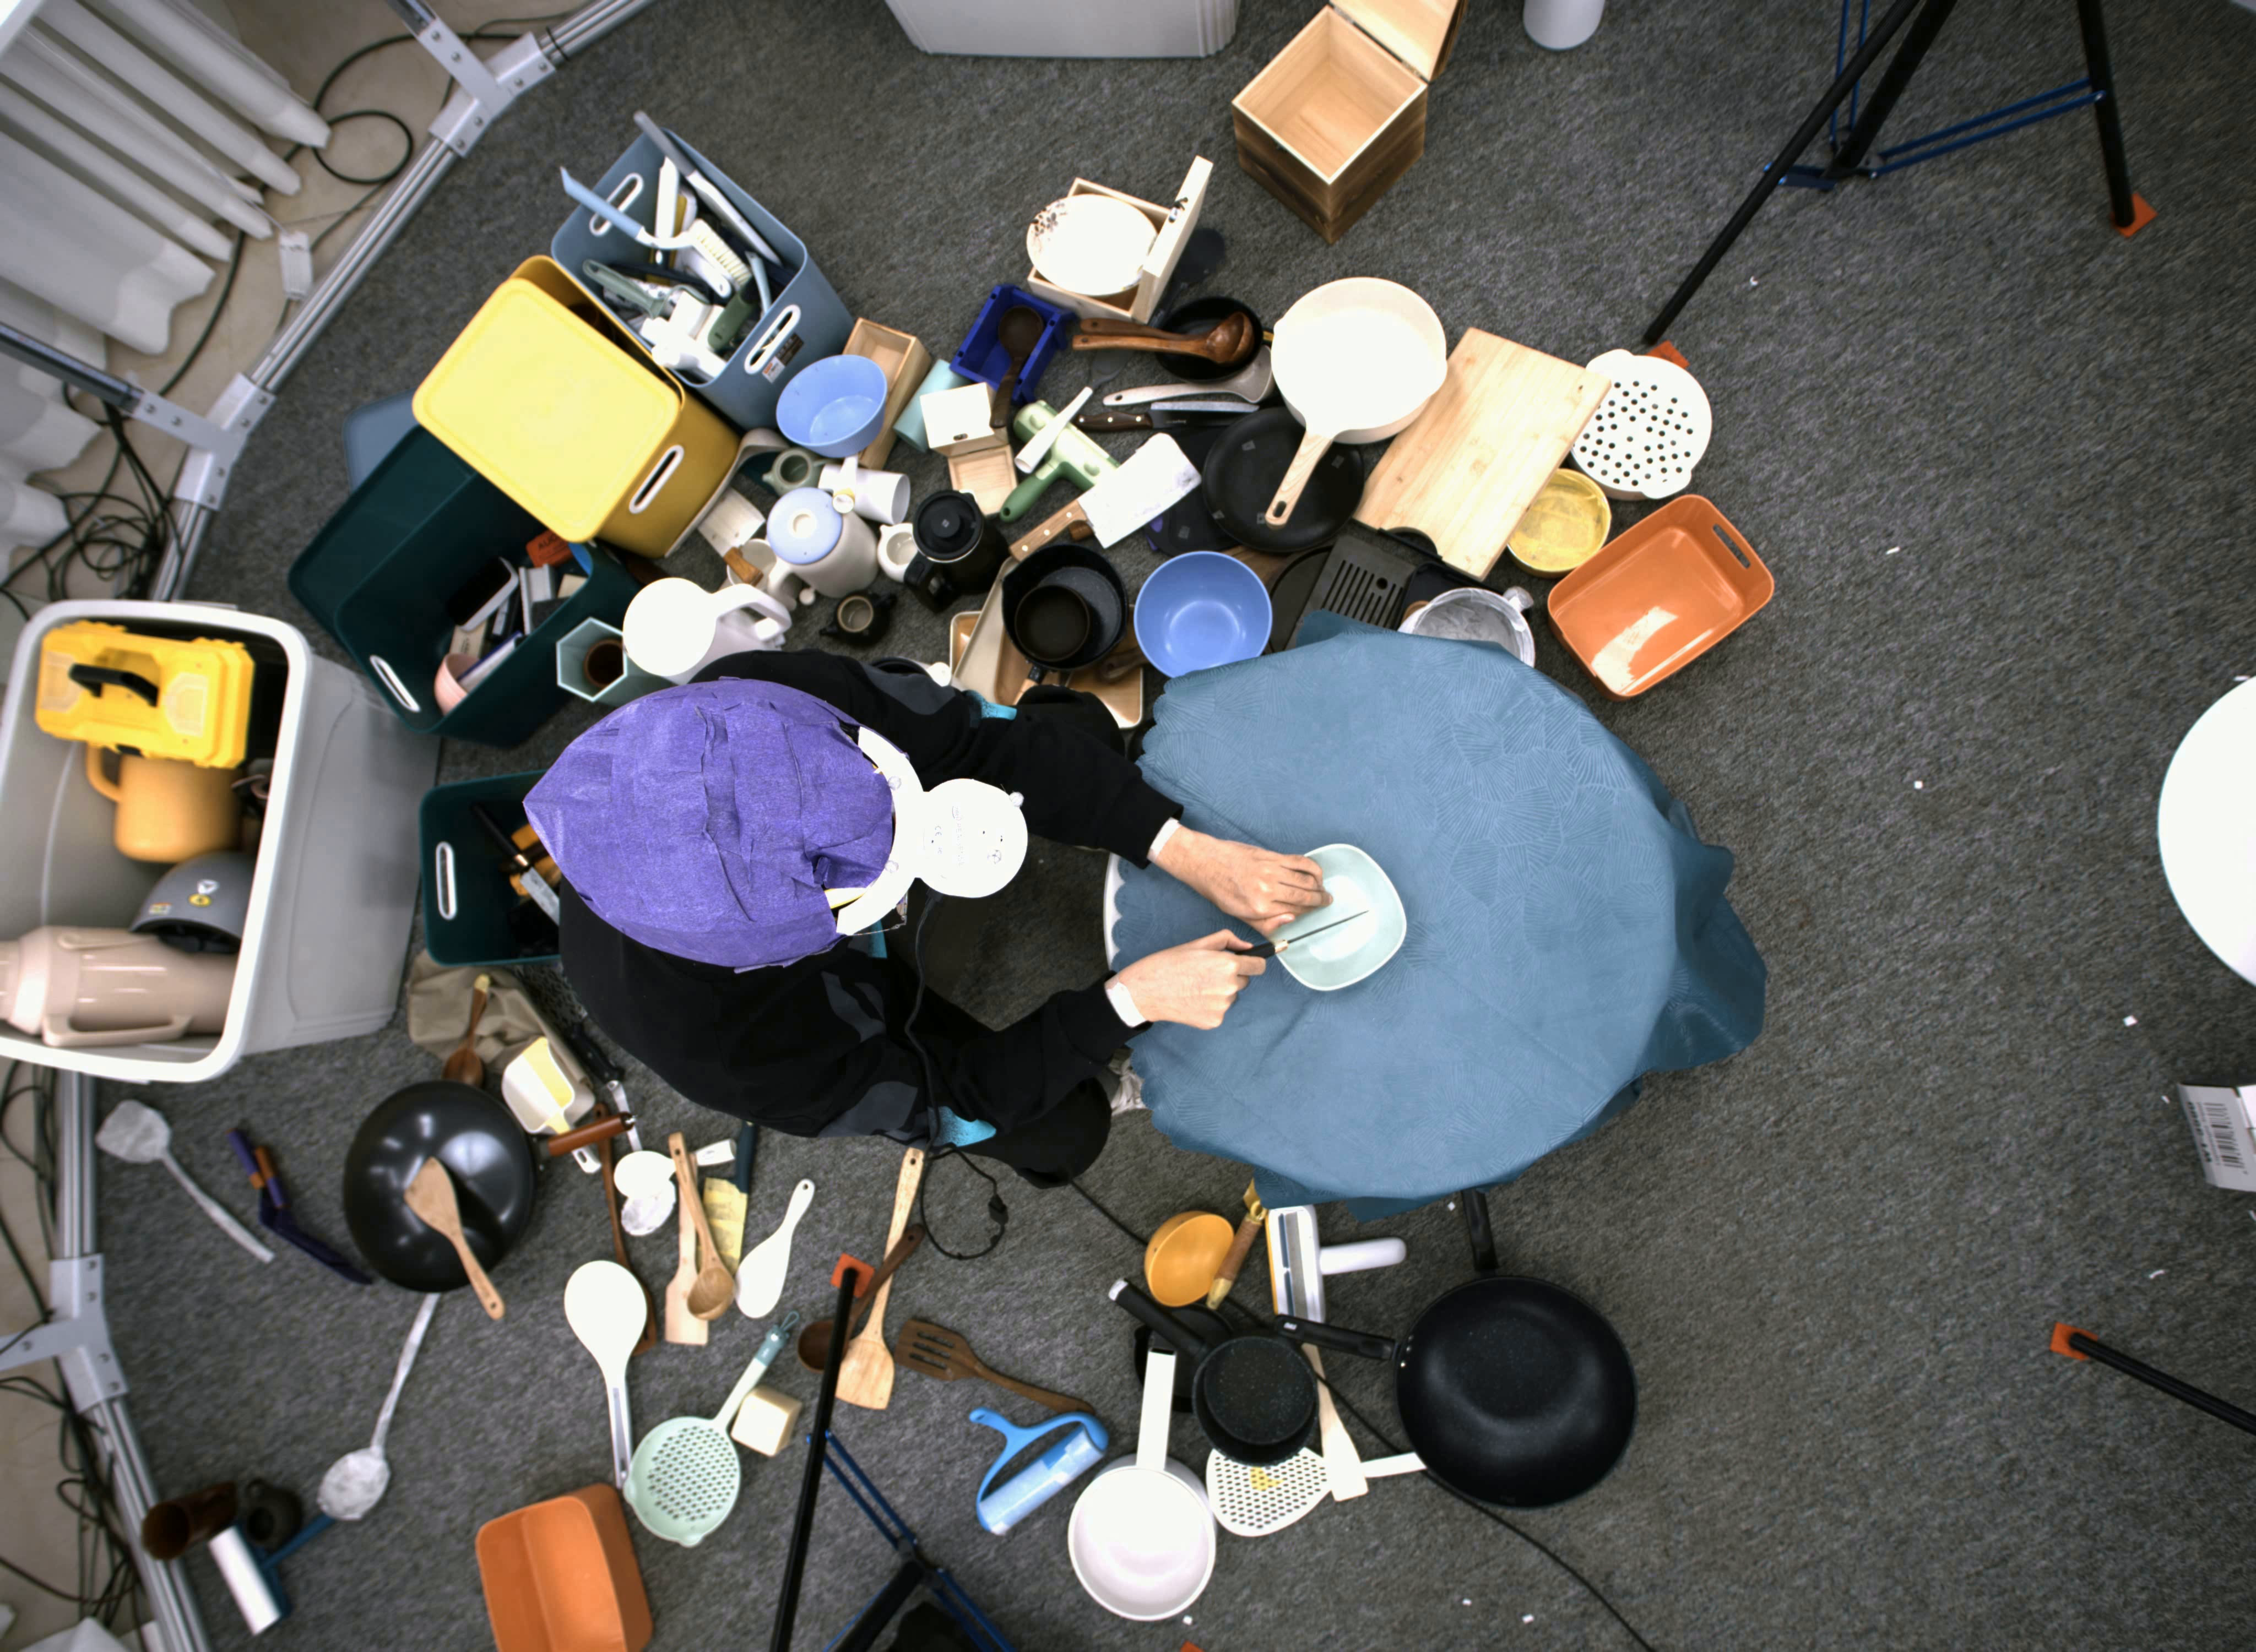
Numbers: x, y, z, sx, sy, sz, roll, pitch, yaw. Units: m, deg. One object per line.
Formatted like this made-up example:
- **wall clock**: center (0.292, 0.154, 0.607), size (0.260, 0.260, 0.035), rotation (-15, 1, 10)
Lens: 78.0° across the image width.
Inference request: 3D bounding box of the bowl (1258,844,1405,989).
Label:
- **bowl**: center (0.212, 0.094, 1.442), size (0.152, 0.058, 0.151), rotation (-1, 88, 10)

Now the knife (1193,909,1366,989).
- **knife**: center (0.157, 0.119, 1.402), size (0.223, 0.026, 0.017), rotation (-20, 87, -26)
